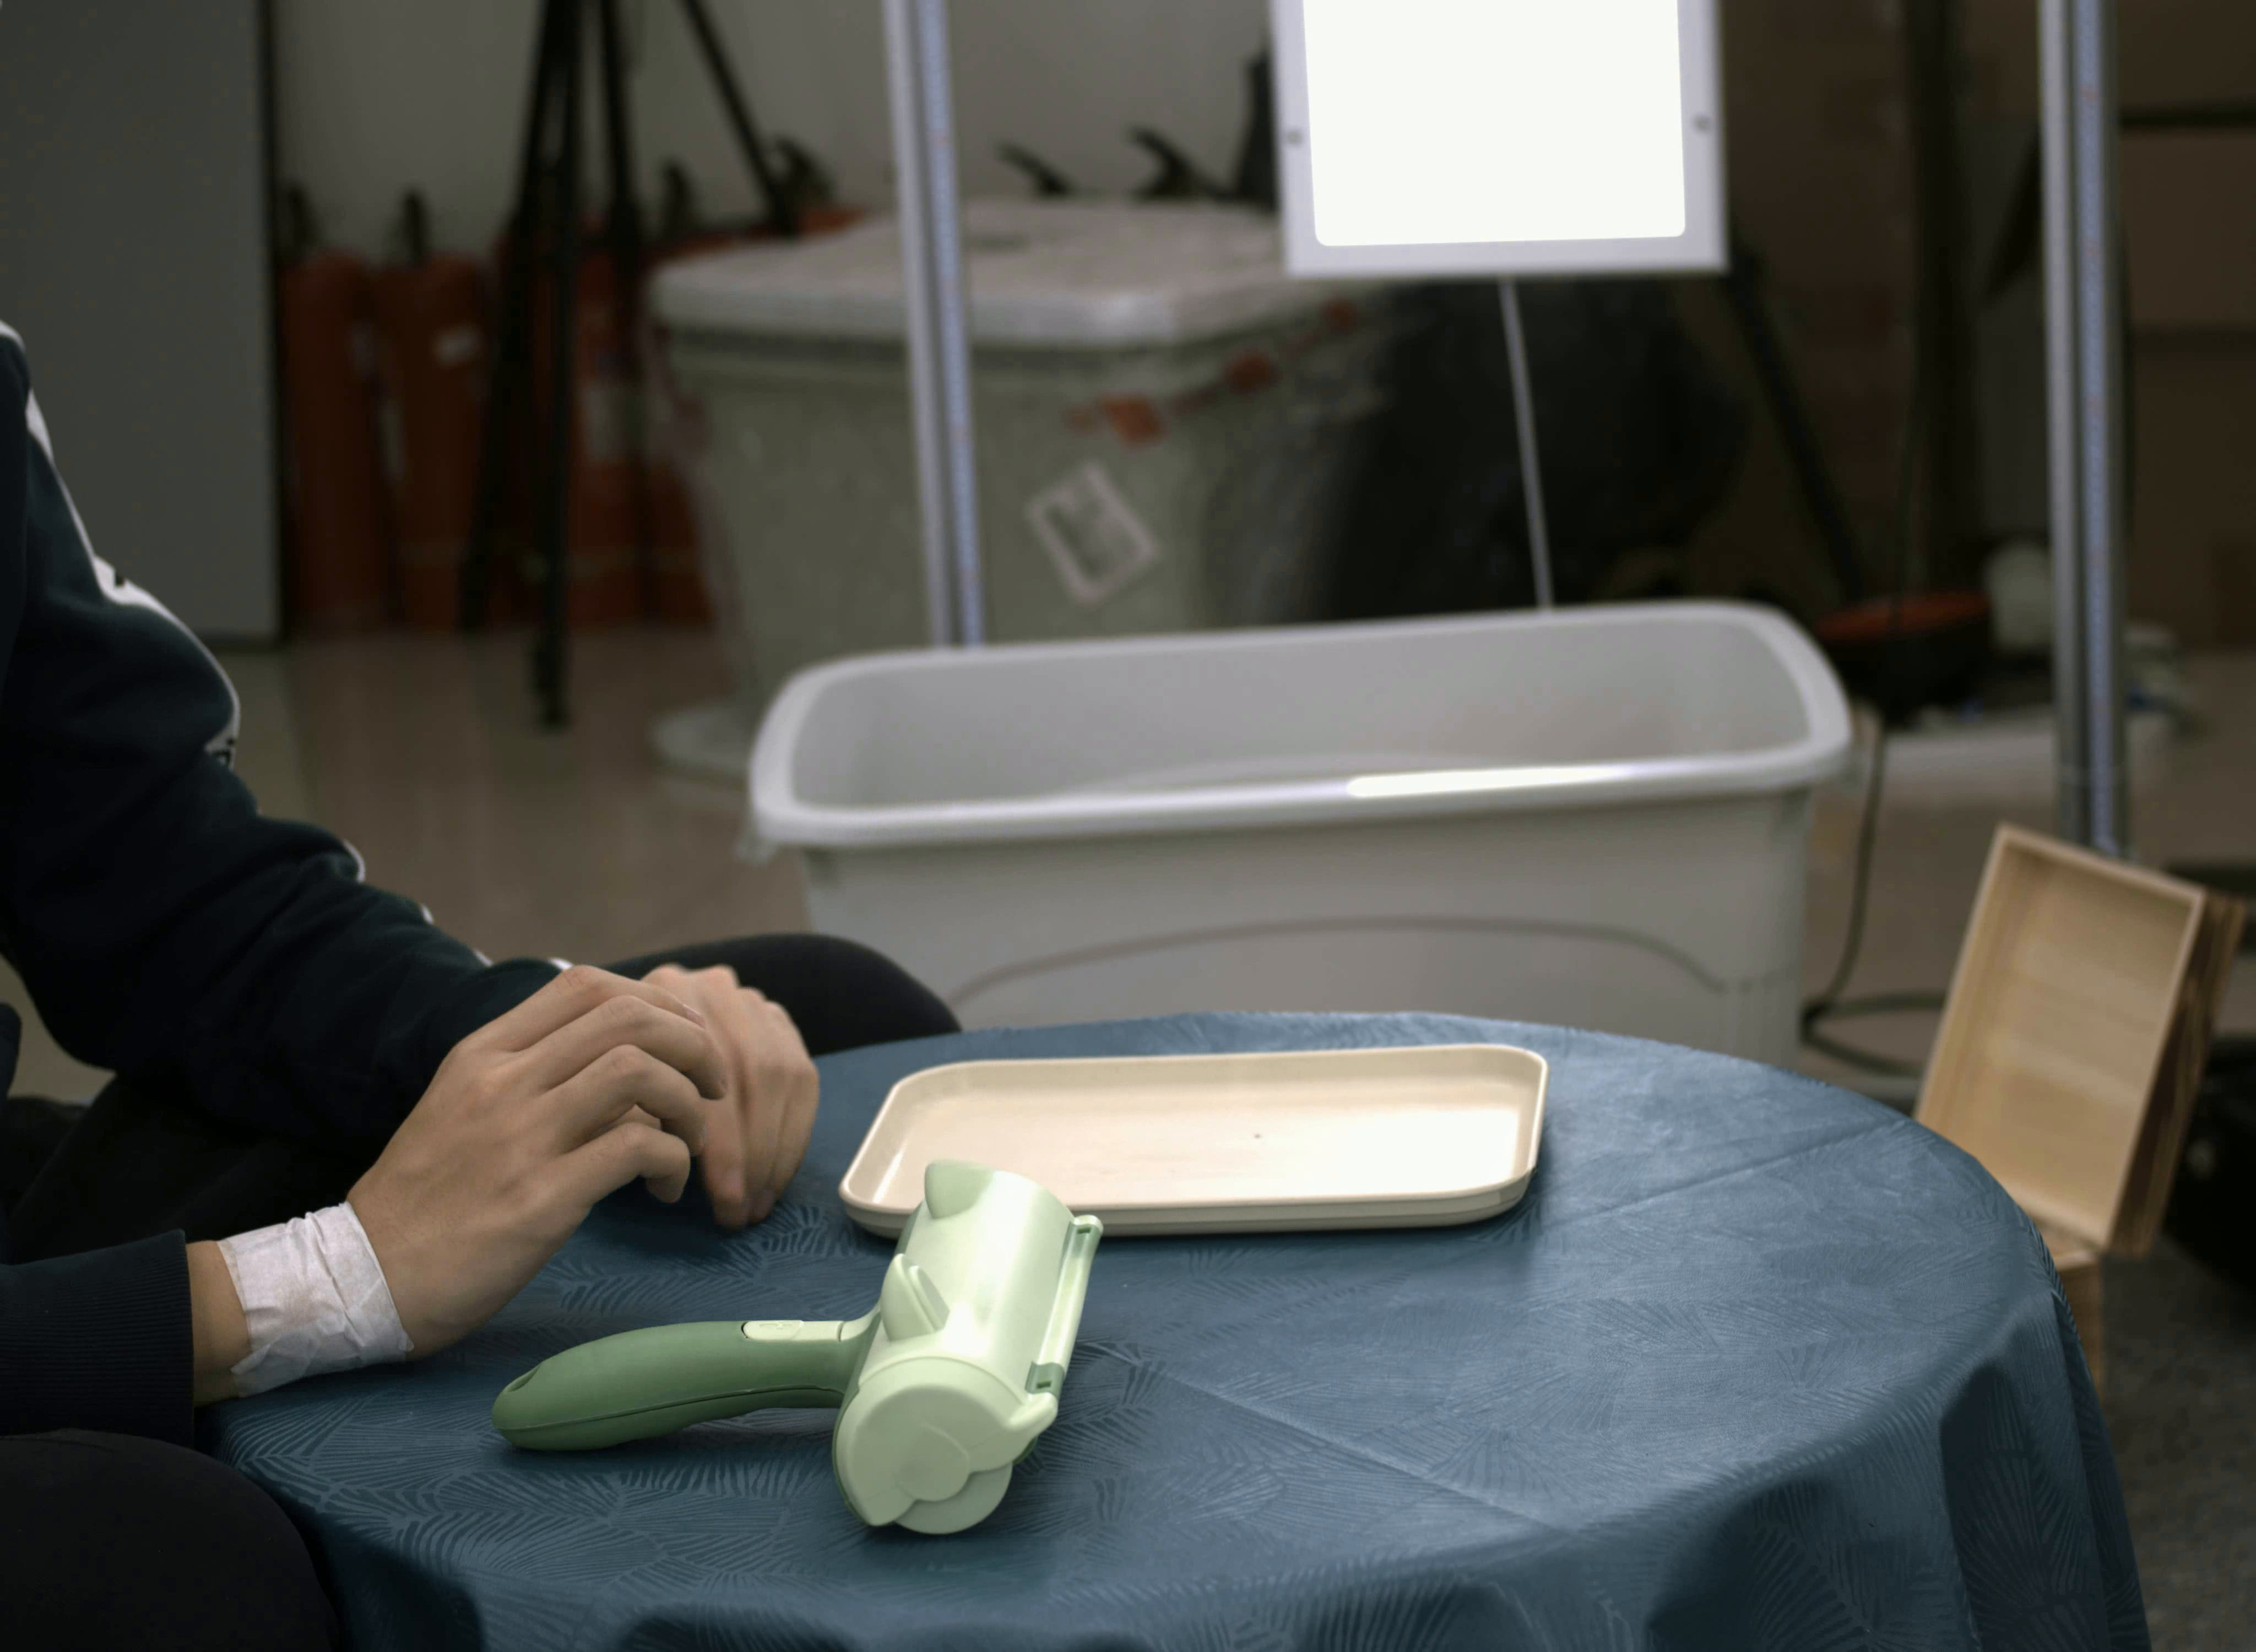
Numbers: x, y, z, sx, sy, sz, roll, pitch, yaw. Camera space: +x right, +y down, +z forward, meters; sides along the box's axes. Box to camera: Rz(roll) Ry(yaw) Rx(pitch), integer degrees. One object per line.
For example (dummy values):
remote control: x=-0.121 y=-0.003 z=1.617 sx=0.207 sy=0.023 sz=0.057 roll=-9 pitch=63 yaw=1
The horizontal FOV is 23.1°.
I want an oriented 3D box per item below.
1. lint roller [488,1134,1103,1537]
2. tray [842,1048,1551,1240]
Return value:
lint roller: x=-0.106 y=0.150 z=1.678 sx=0.184 sy=0.082 sz=0.197 roll=1 pitch=14 yaw=6
tray: x=0.027 y=0.111 z=1.911 sx=0.241 sy=0.017 sz=0.170 roll=-3 pitch=13 yaw=9
